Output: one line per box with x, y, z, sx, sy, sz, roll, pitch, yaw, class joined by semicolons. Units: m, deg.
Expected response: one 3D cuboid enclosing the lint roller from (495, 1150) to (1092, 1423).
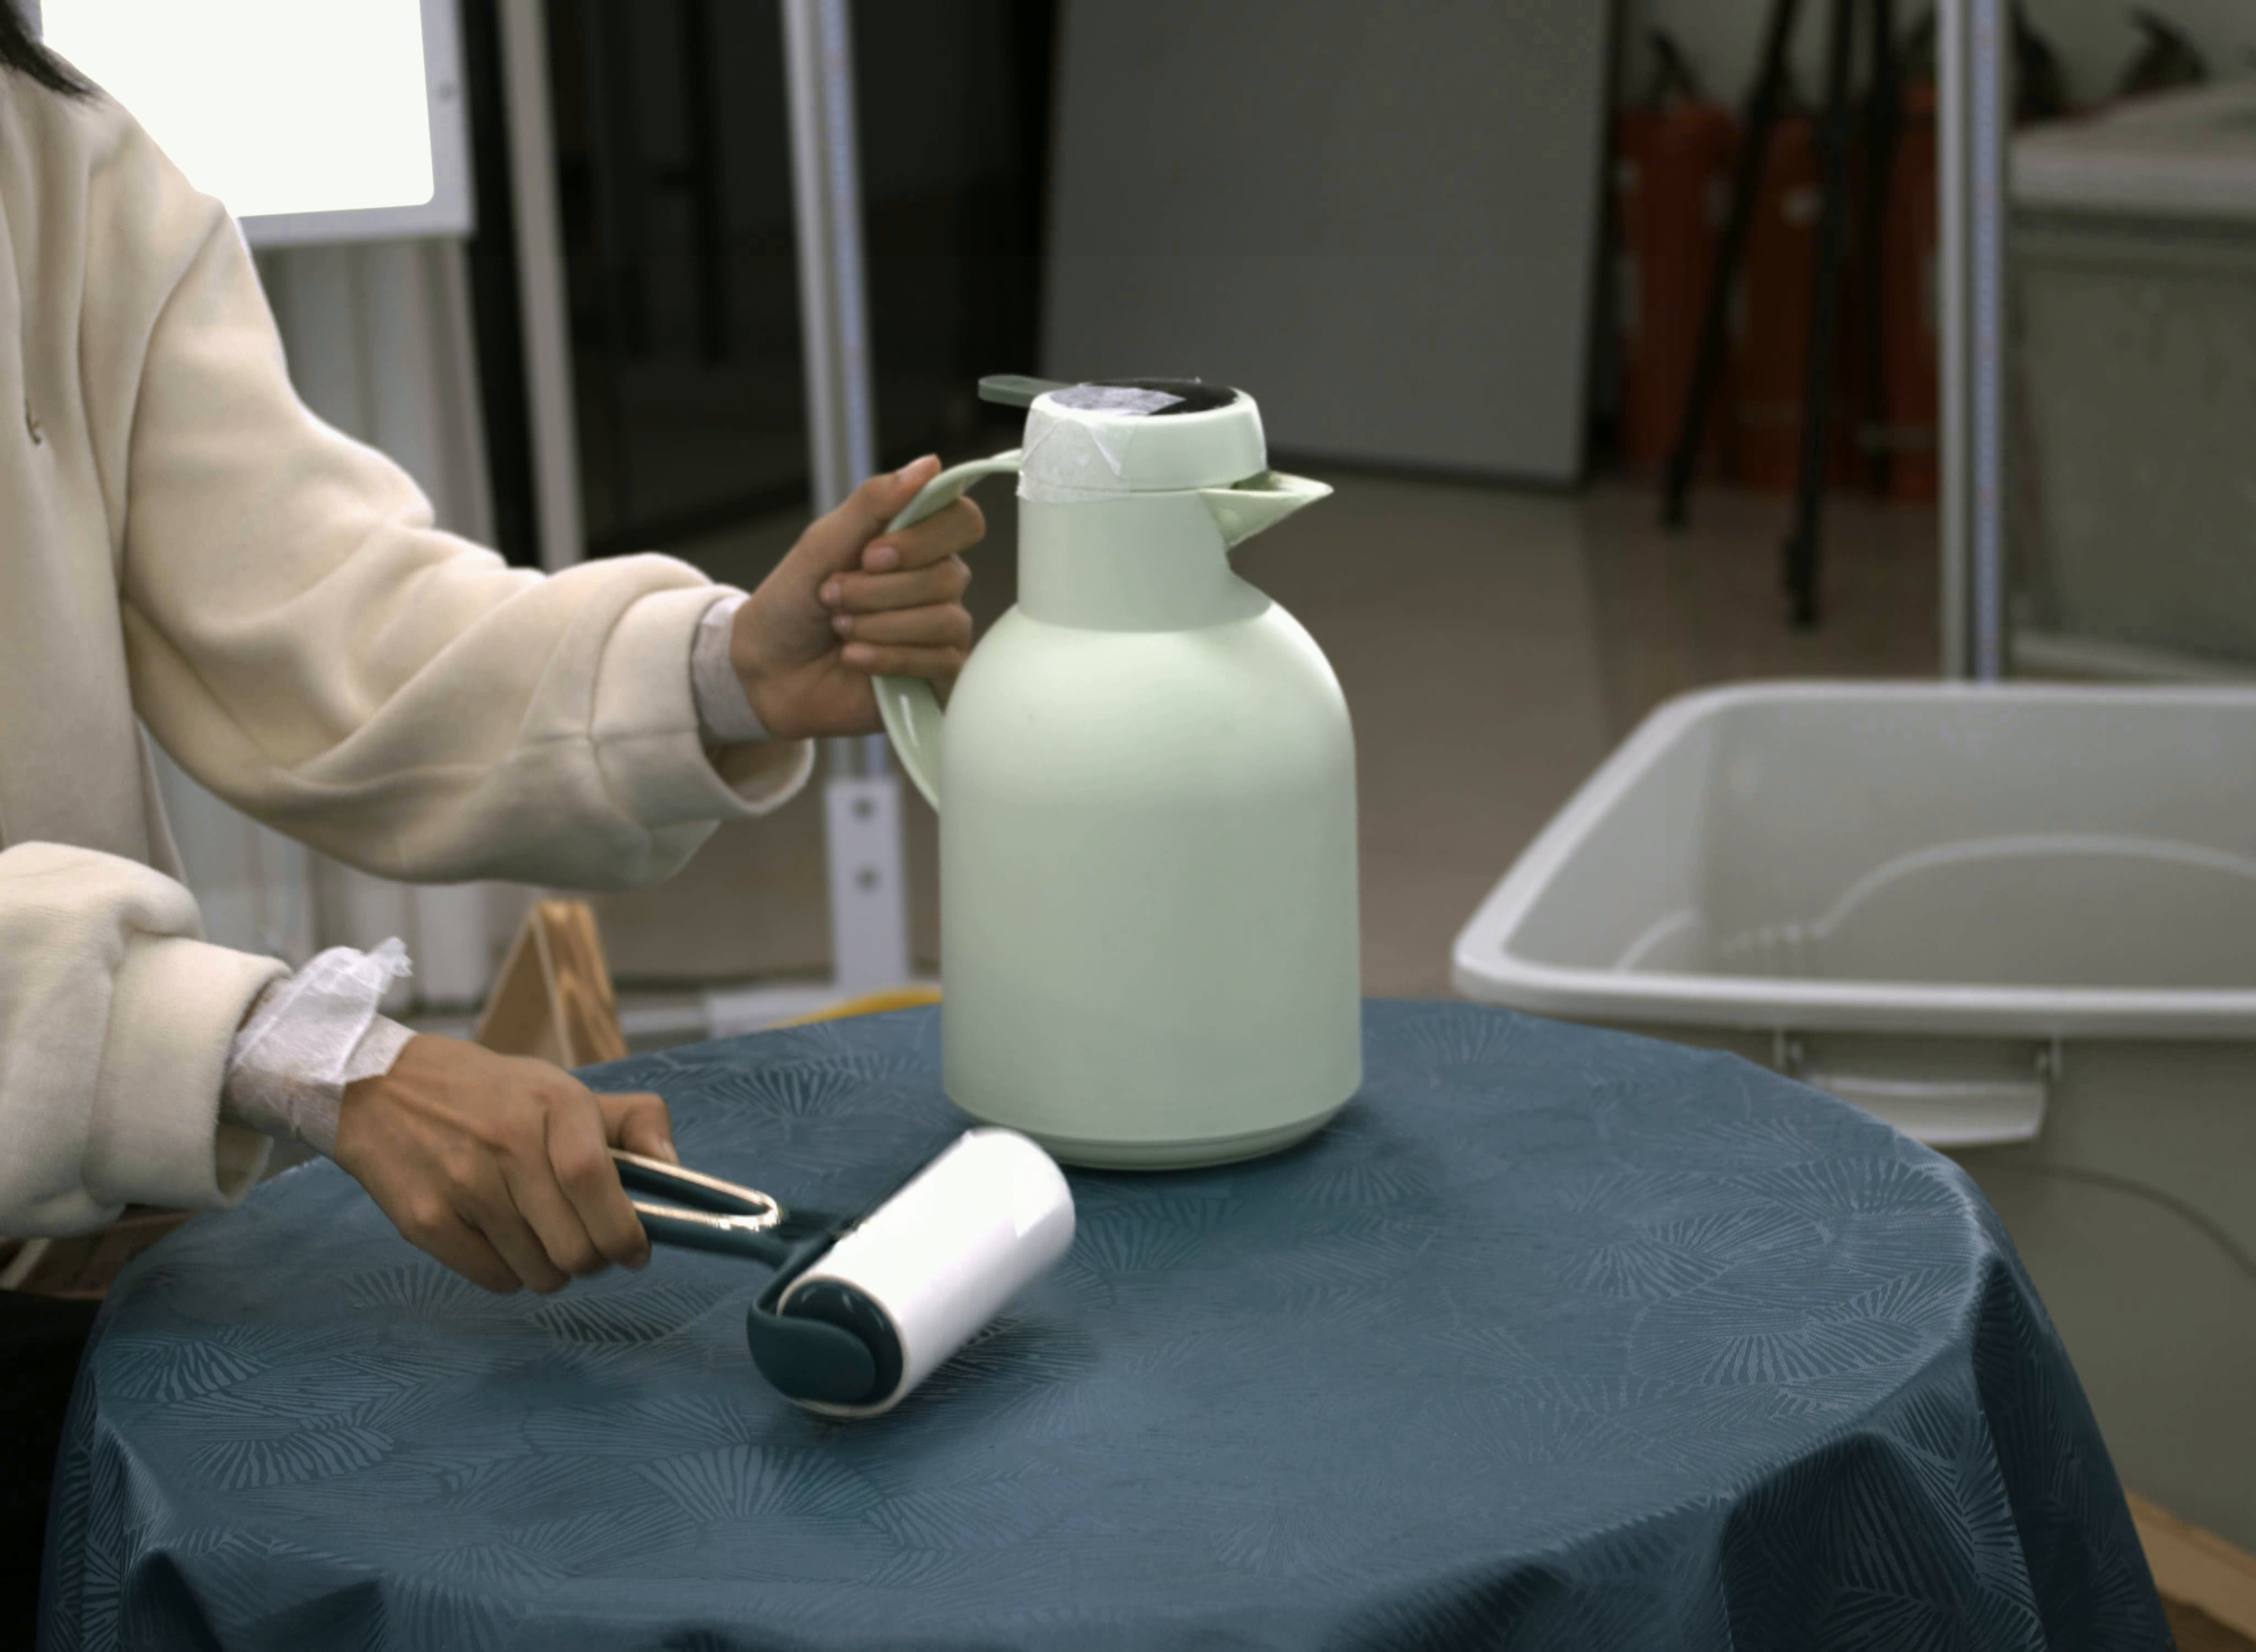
-0.116;0.117;1.632;0.181;0.049;0.132;18;28;27;lint roller

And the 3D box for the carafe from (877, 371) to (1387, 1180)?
-0.001;-0.022;1.819;0.188;0.259;0.141;4;16;38;carafe
